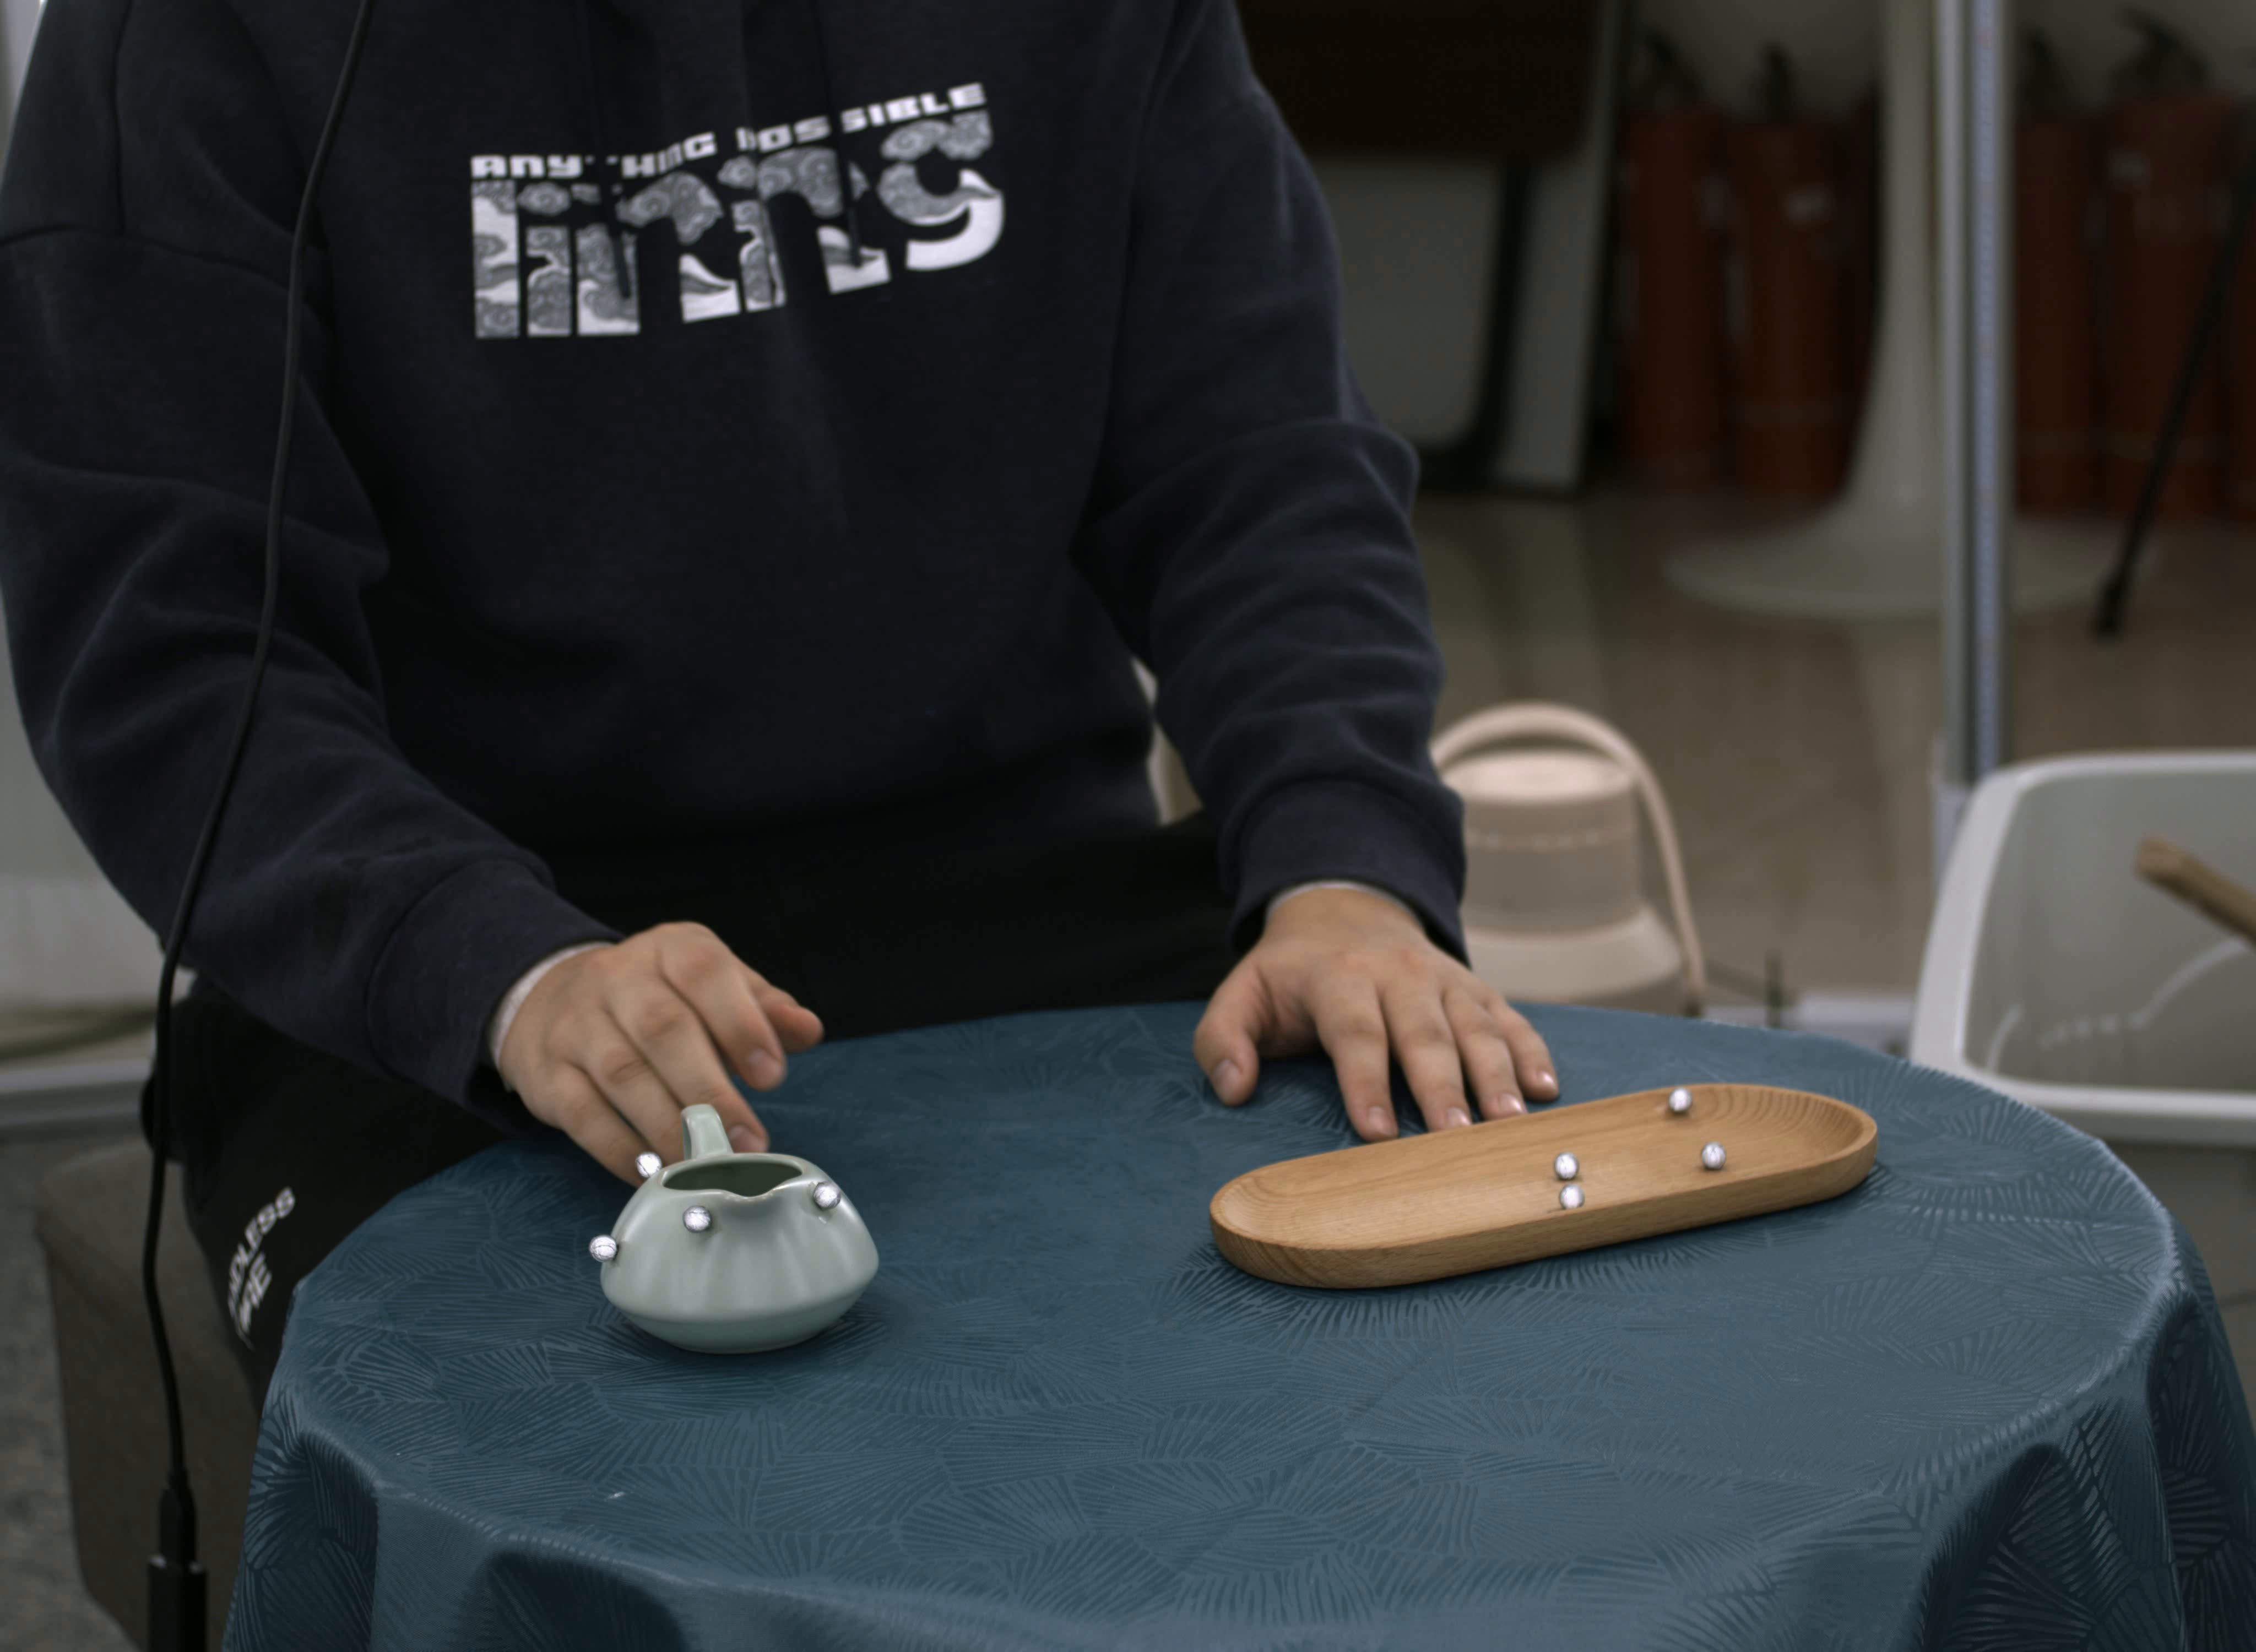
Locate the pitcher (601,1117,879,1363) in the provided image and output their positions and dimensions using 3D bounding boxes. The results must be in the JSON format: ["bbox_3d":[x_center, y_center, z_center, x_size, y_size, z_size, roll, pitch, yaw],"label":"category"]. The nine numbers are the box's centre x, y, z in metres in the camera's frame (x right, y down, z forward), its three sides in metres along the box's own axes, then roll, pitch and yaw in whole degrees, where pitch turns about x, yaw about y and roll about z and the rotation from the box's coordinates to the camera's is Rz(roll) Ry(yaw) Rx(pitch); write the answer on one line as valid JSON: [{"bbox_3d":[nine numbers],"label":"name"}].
[{"bbox_3d":[-0.122,0.128,1.666,0.084,0.061,0.109,-6,12,-15],"label":"pitcher"}]

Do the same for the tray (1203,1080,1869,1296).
[{"bbox_3d":[0.132,0.116,1.727,0.226,0.020,0.102,-12,14,-22],"label":"tray"}]
